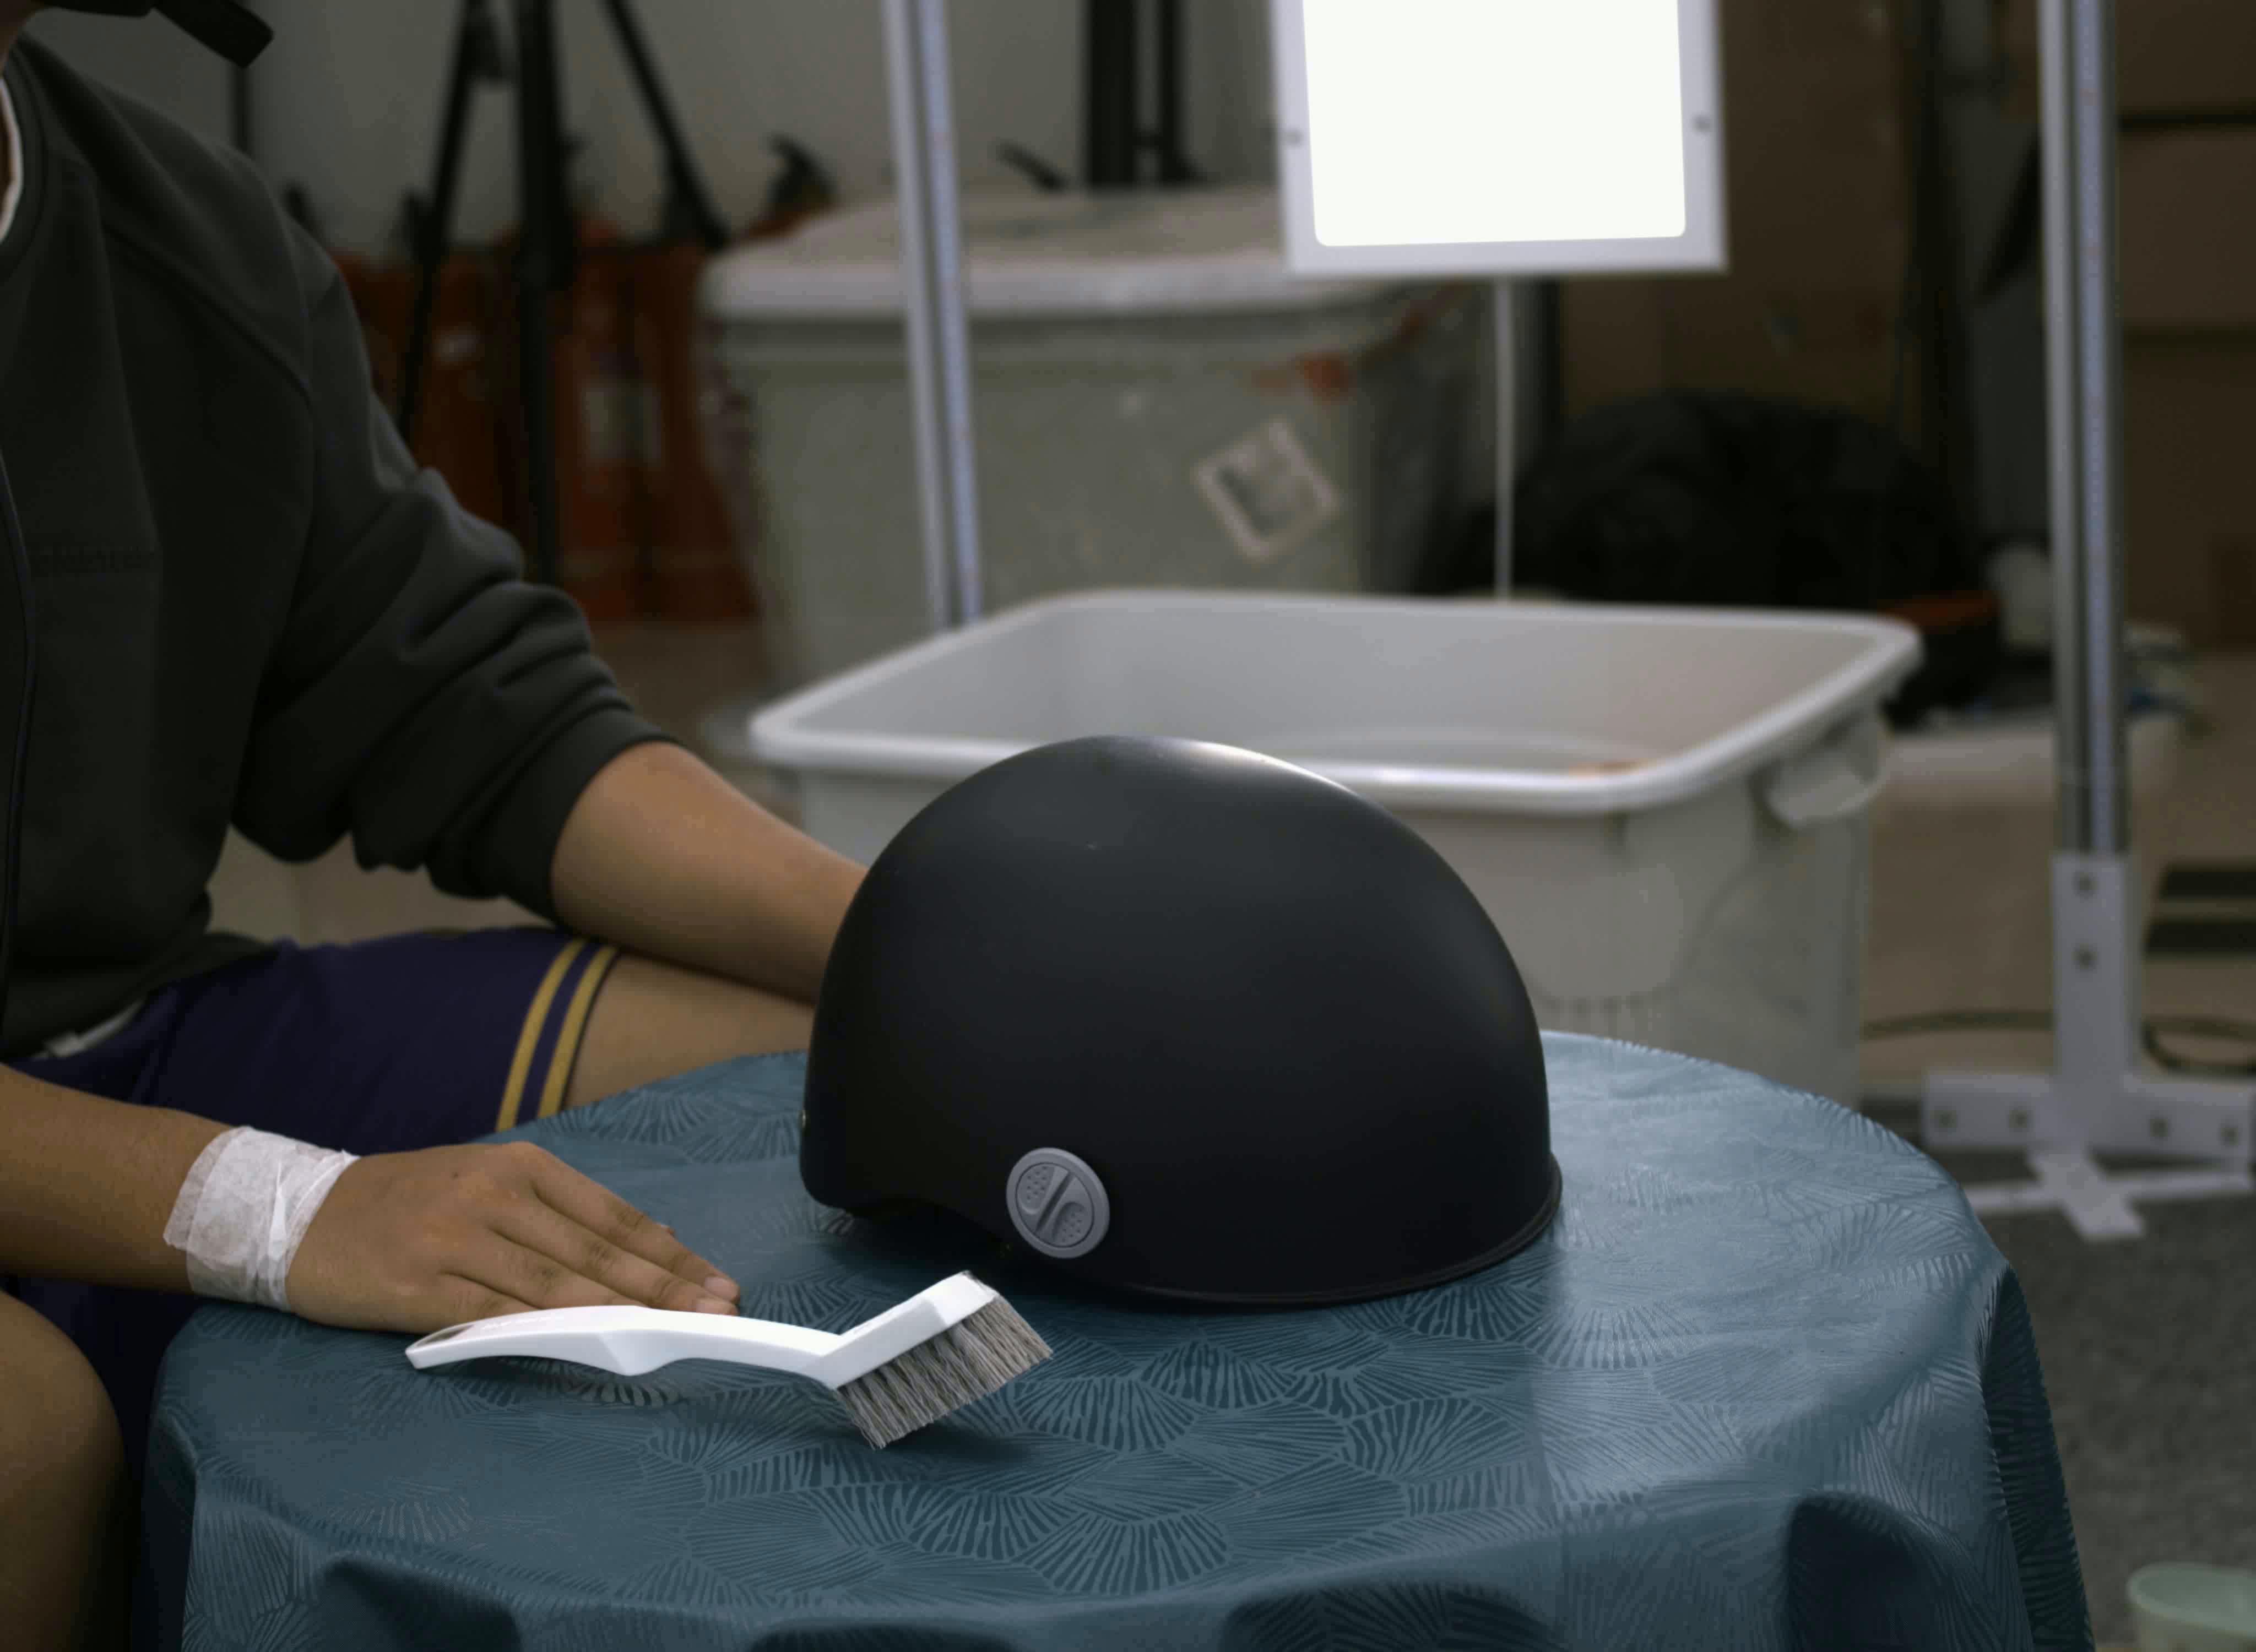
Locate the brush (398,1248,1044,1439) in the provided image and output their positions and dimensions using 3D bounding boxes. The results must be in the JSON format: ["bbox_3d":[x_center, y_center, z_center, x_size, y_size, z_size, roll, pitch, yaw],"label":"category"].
[{"bbox_3d":[-0.130,0.170,1.717,0.249,0.050,0.033,-11,11,37],"label":"brush"}]

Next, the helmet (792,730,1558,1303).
[{"bbox_3d":[0.013,0.054,1.856,0.279,0.167,0.224,11,23,43],"label":"helmet"}]
